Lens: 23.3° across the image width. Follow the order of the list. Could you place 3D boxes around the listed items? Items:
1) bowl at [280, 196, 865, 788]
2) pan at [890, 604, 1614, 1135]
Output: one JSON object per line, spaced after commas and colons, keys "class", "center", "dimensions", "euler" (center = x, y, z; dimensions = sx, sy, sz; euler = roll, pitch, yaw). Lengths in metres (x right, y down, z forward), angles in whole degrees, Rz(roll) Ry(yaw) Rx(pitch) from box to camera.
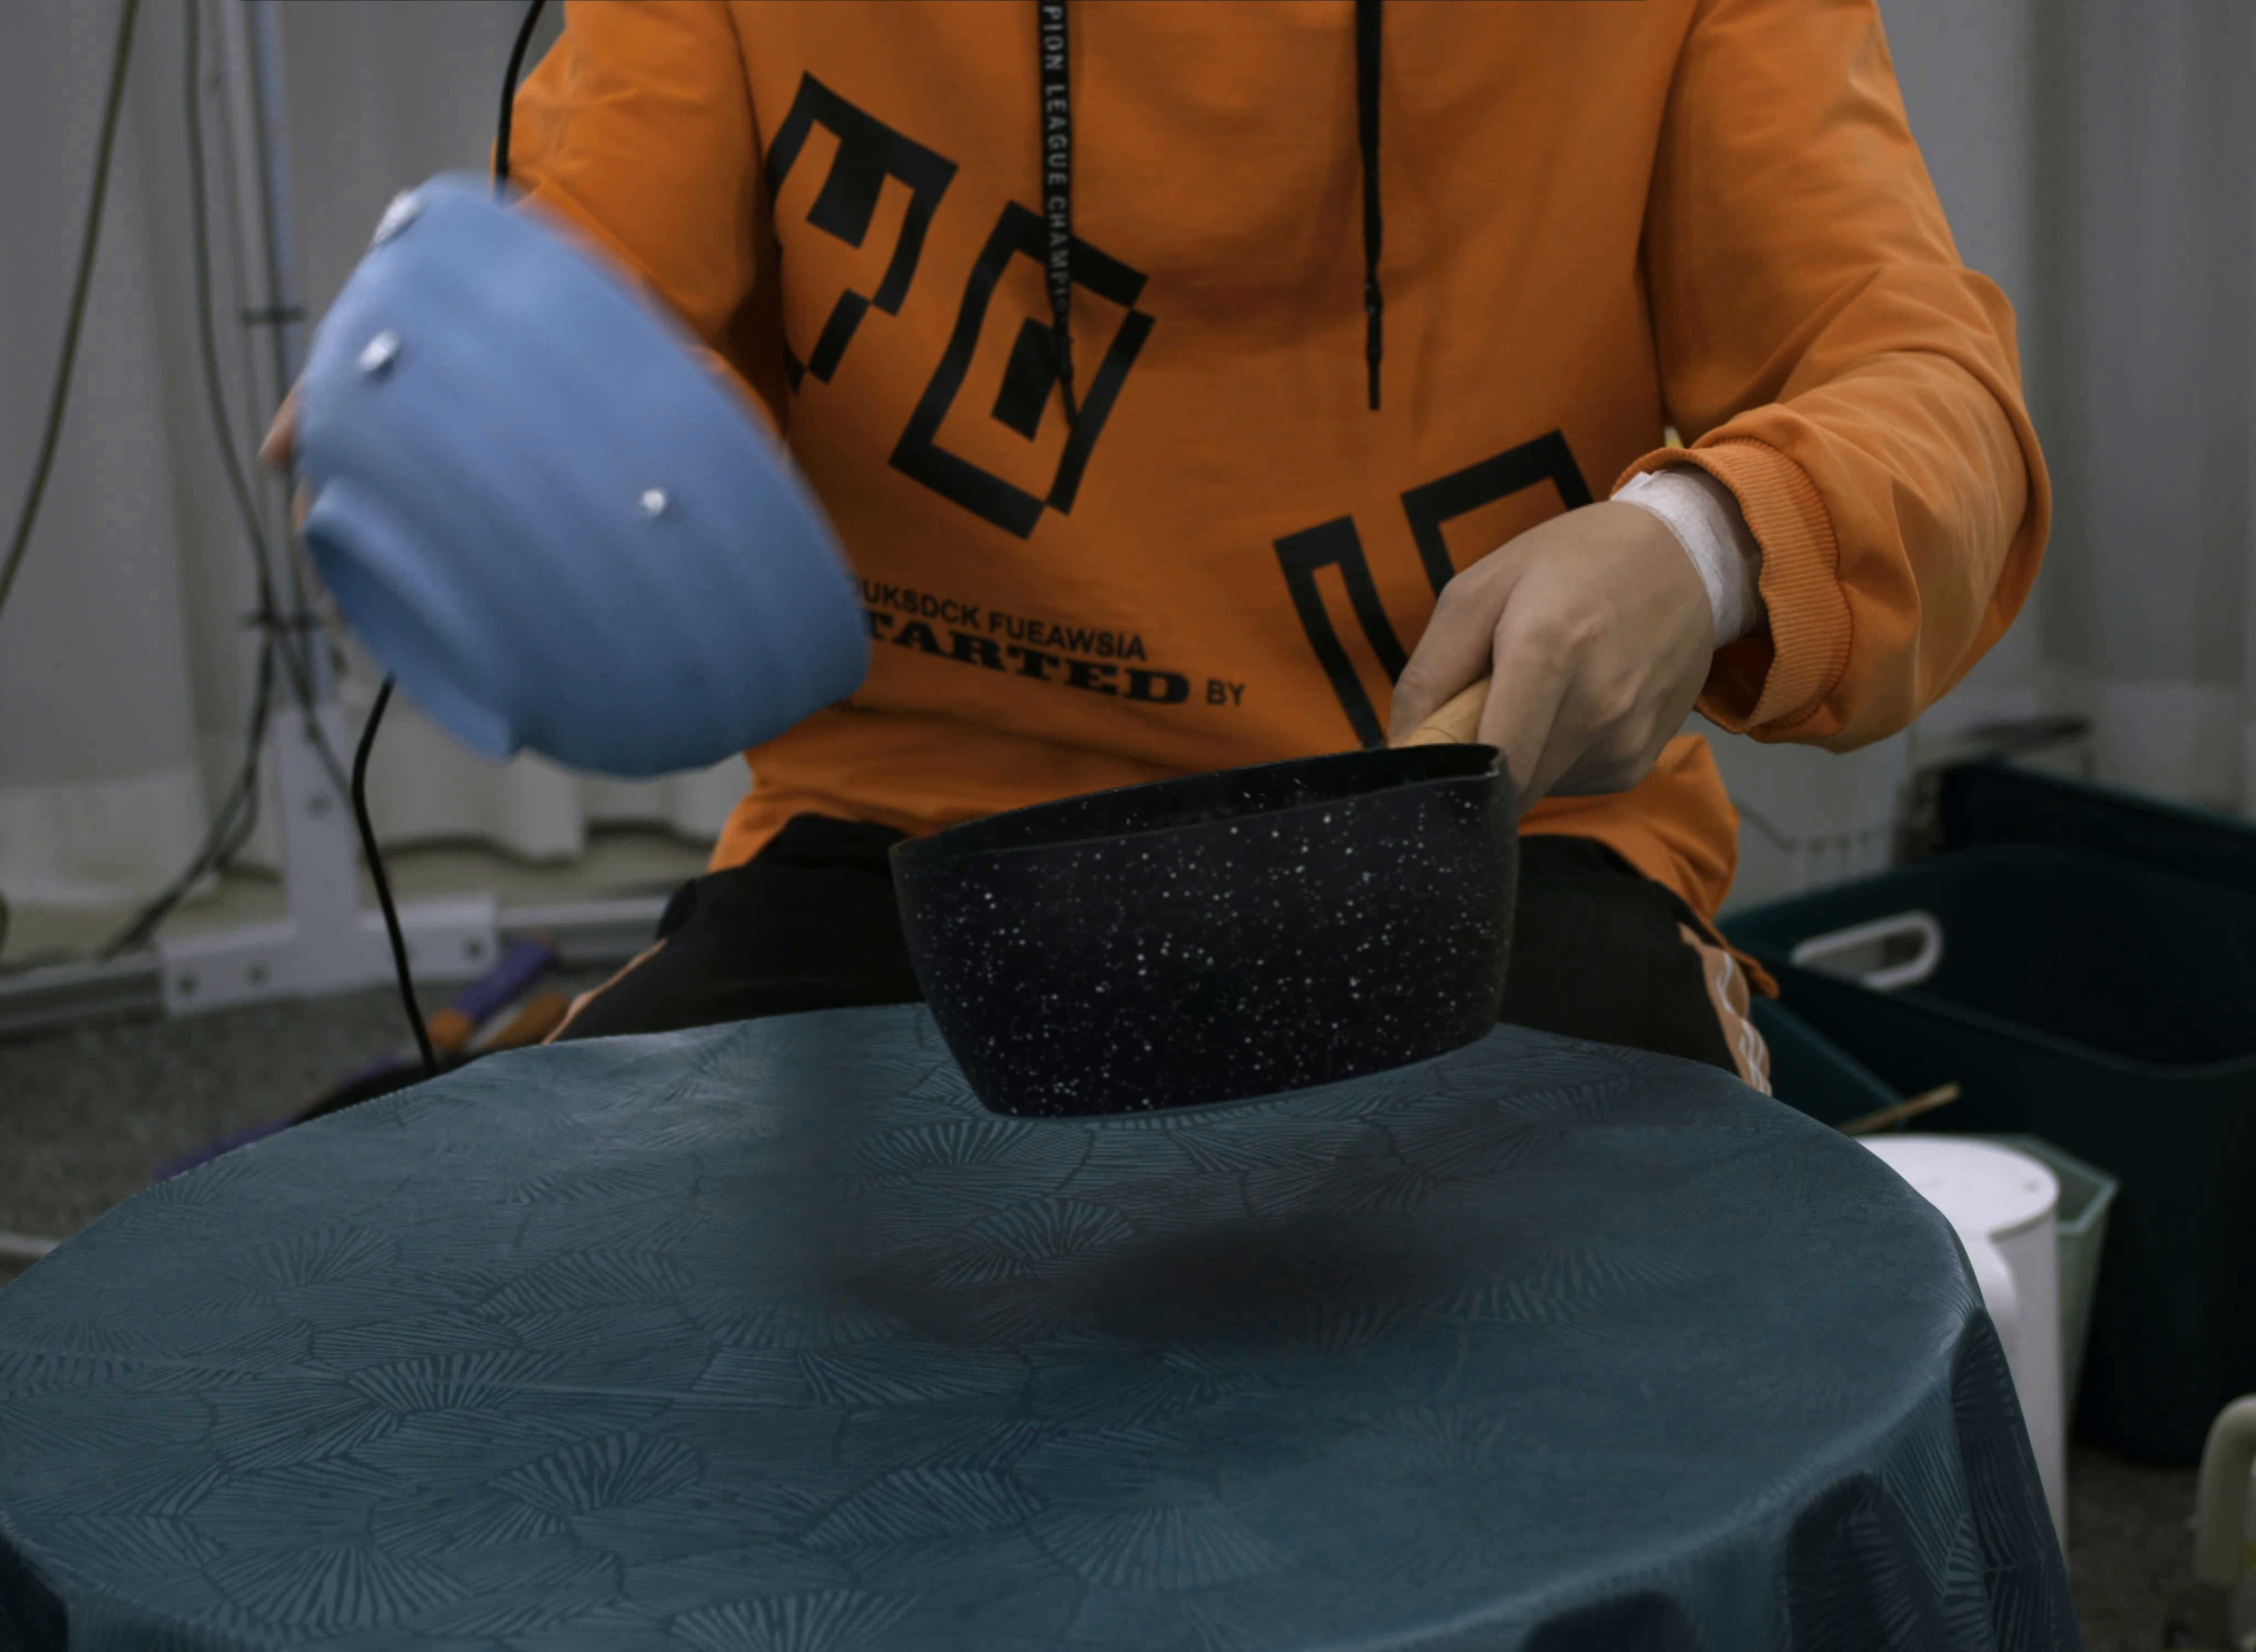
{"class": "bowl", "center": [-0.180, -0.080, 1.603], "dimensions": [0.096, 0.194, 0.198], "euler": [-45, 31, -16]}
{"class": "pan", "center": [0.067, 0.009, 1.674], "dimensions": [0.207, 0.108, 0.342], "euler": [-8, 6, 32]}
